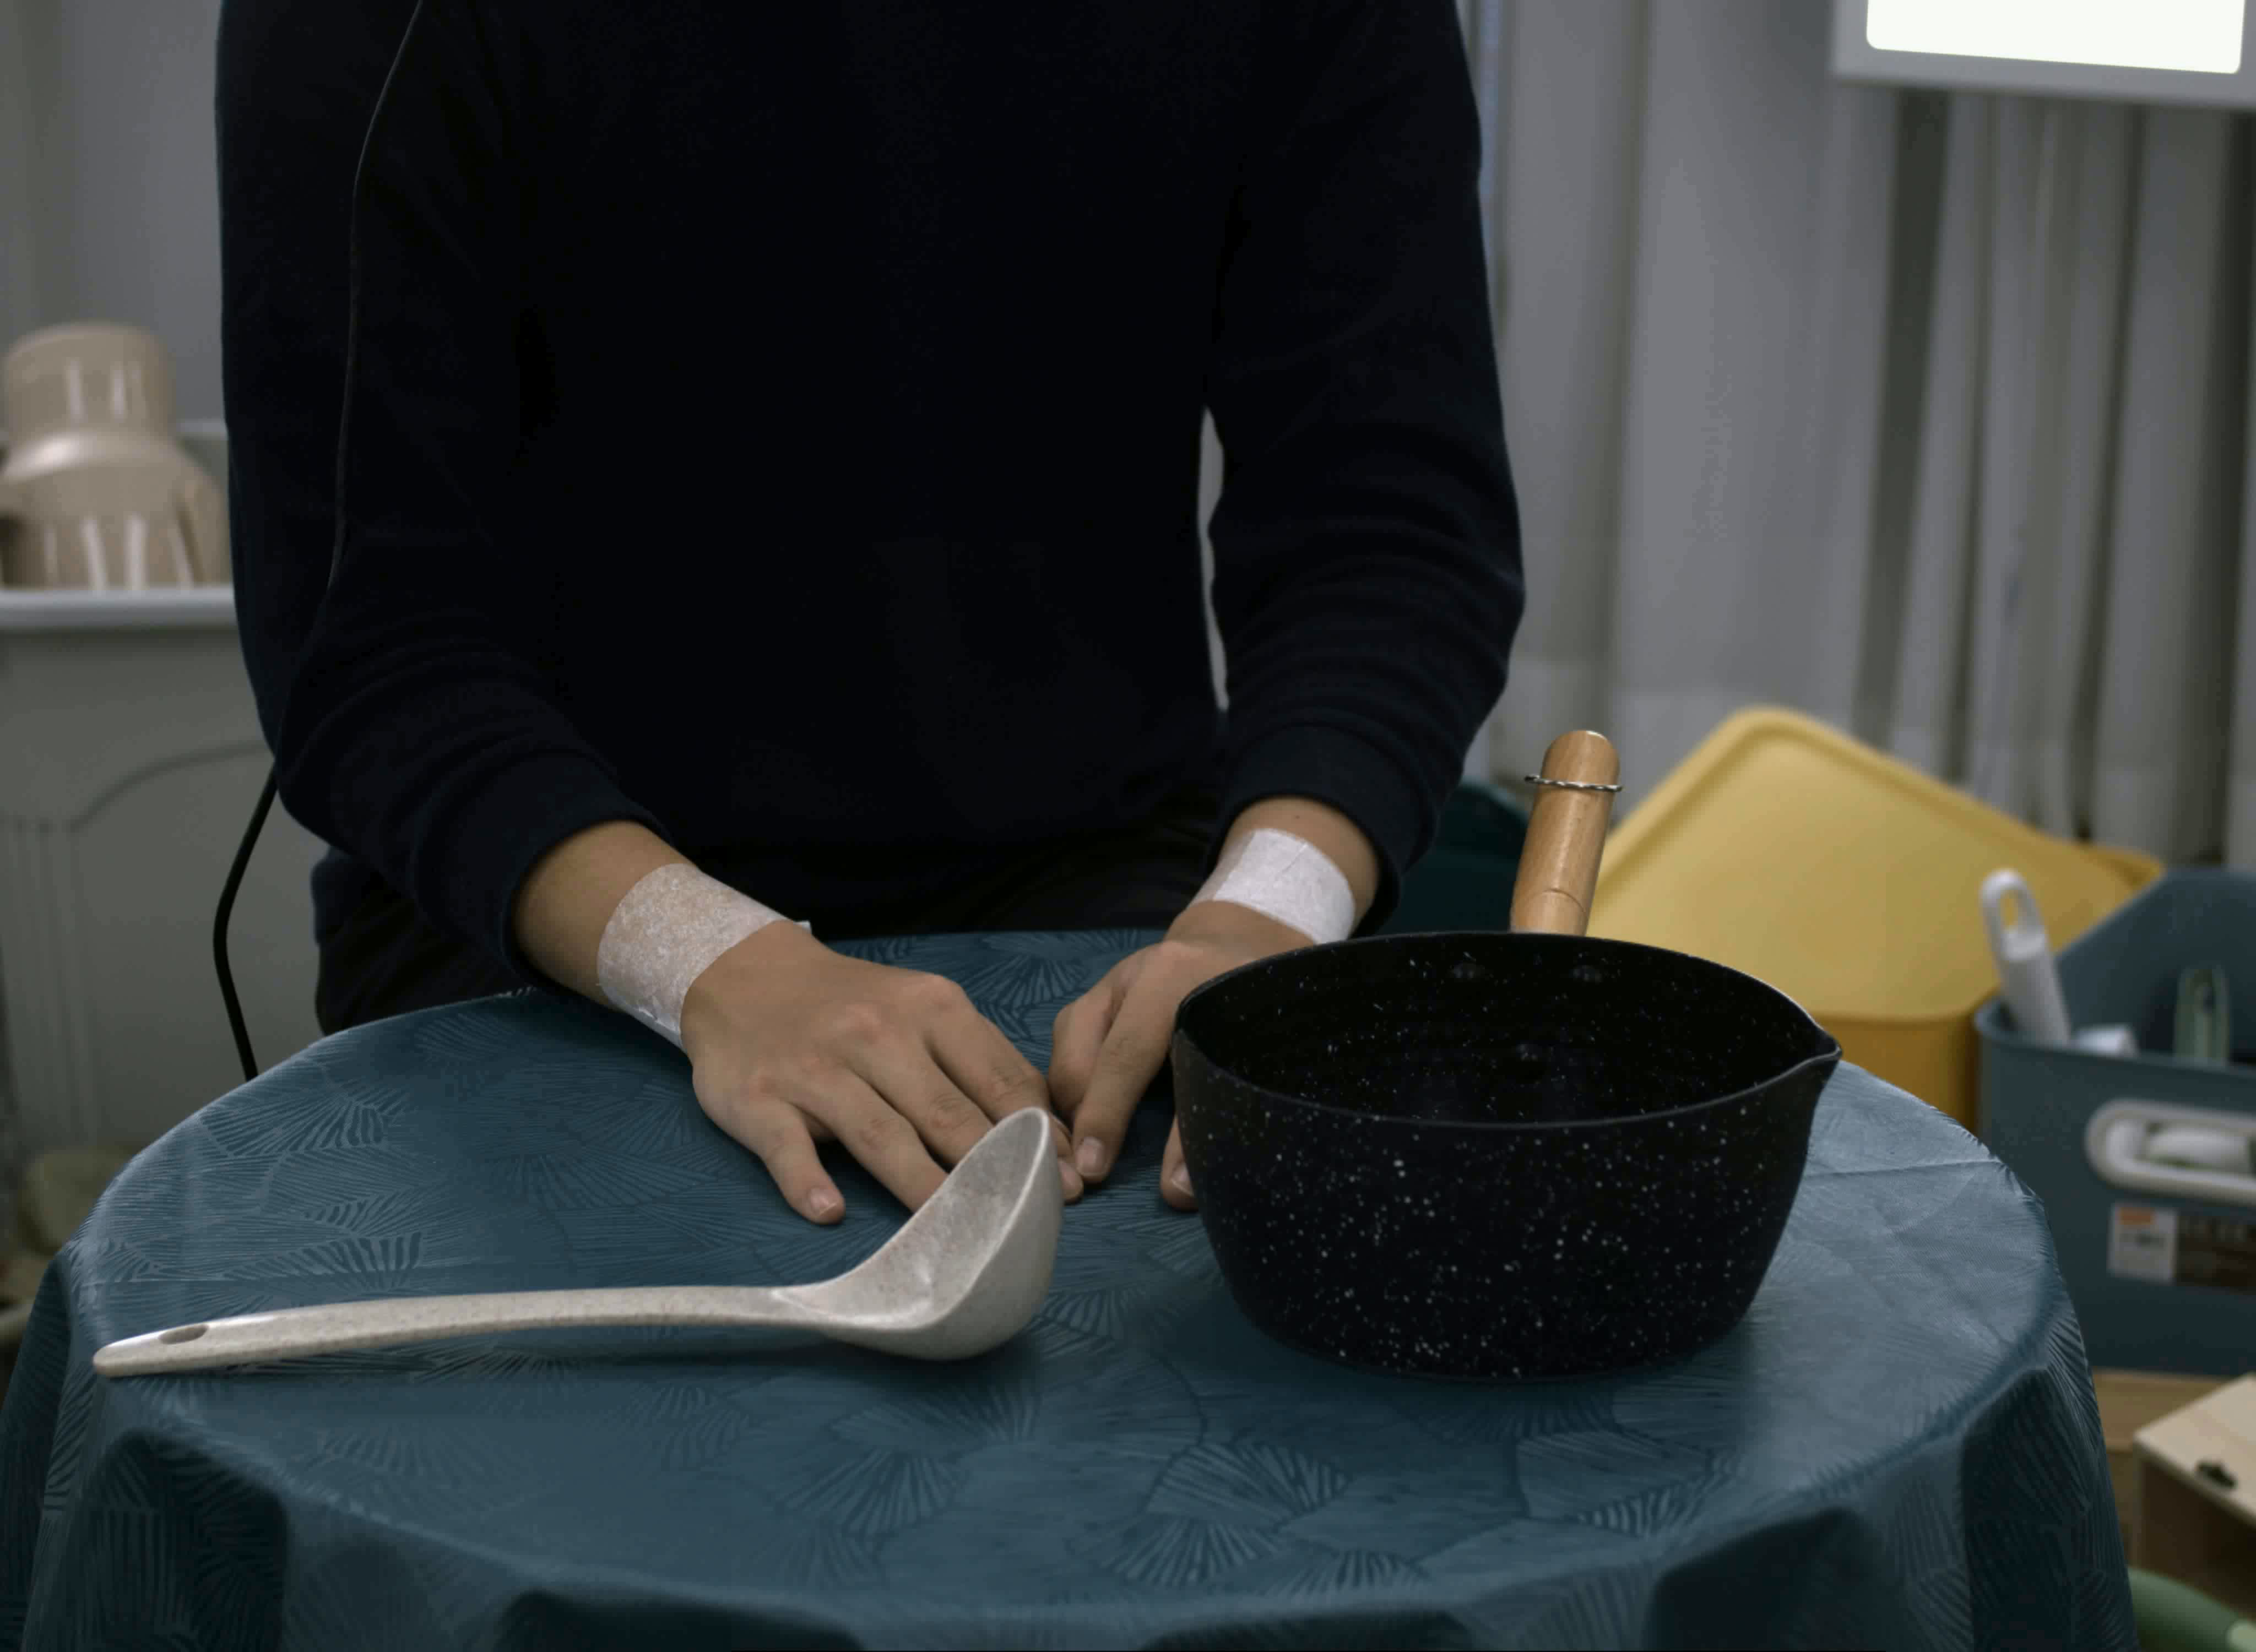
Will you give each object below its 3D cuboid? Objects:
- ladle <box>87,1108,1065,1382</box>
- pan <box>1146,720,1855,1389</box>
[{"bbox_3d":[-0.154,0.118,1.473,0.274,0.070,0.088,-1,23,-5],"label":"ladle"},{"bbox_3d":[0.118,0.064,1.598,0.206,0.109,0.342,2,17,9],"label":"pan"}]
